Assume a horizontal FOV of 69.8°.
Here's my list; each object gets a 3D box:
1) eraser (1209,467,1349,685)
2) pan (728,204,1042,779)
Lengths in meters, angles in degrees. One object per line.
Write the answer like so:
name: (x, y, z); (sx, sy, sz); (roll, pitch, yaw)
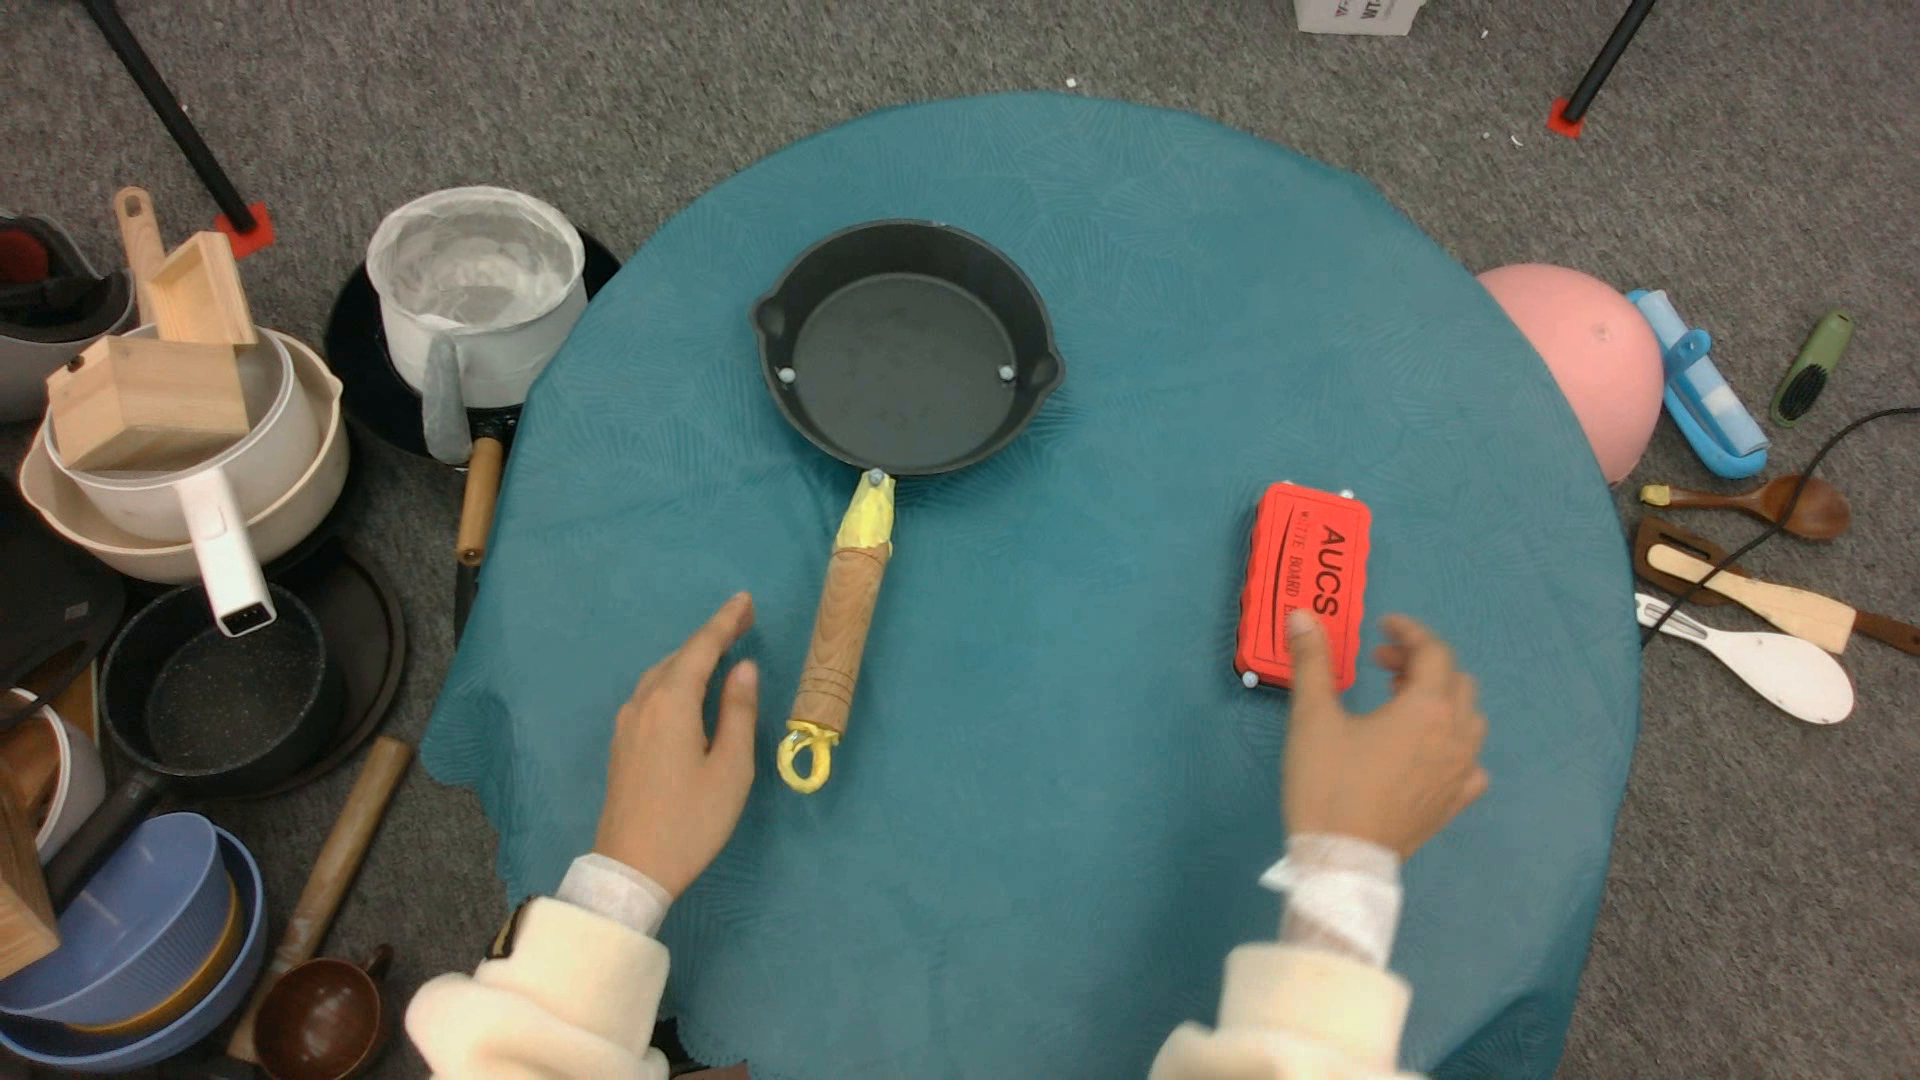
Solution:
eraser: (0.166, 0.018, 0.714); (0.059, 0.023, 0.108); (14, 65, 0)
pan: (-0.055, -0.034, 0.697); (0.169, 0.049, 0.325); (12, 65, -1)
